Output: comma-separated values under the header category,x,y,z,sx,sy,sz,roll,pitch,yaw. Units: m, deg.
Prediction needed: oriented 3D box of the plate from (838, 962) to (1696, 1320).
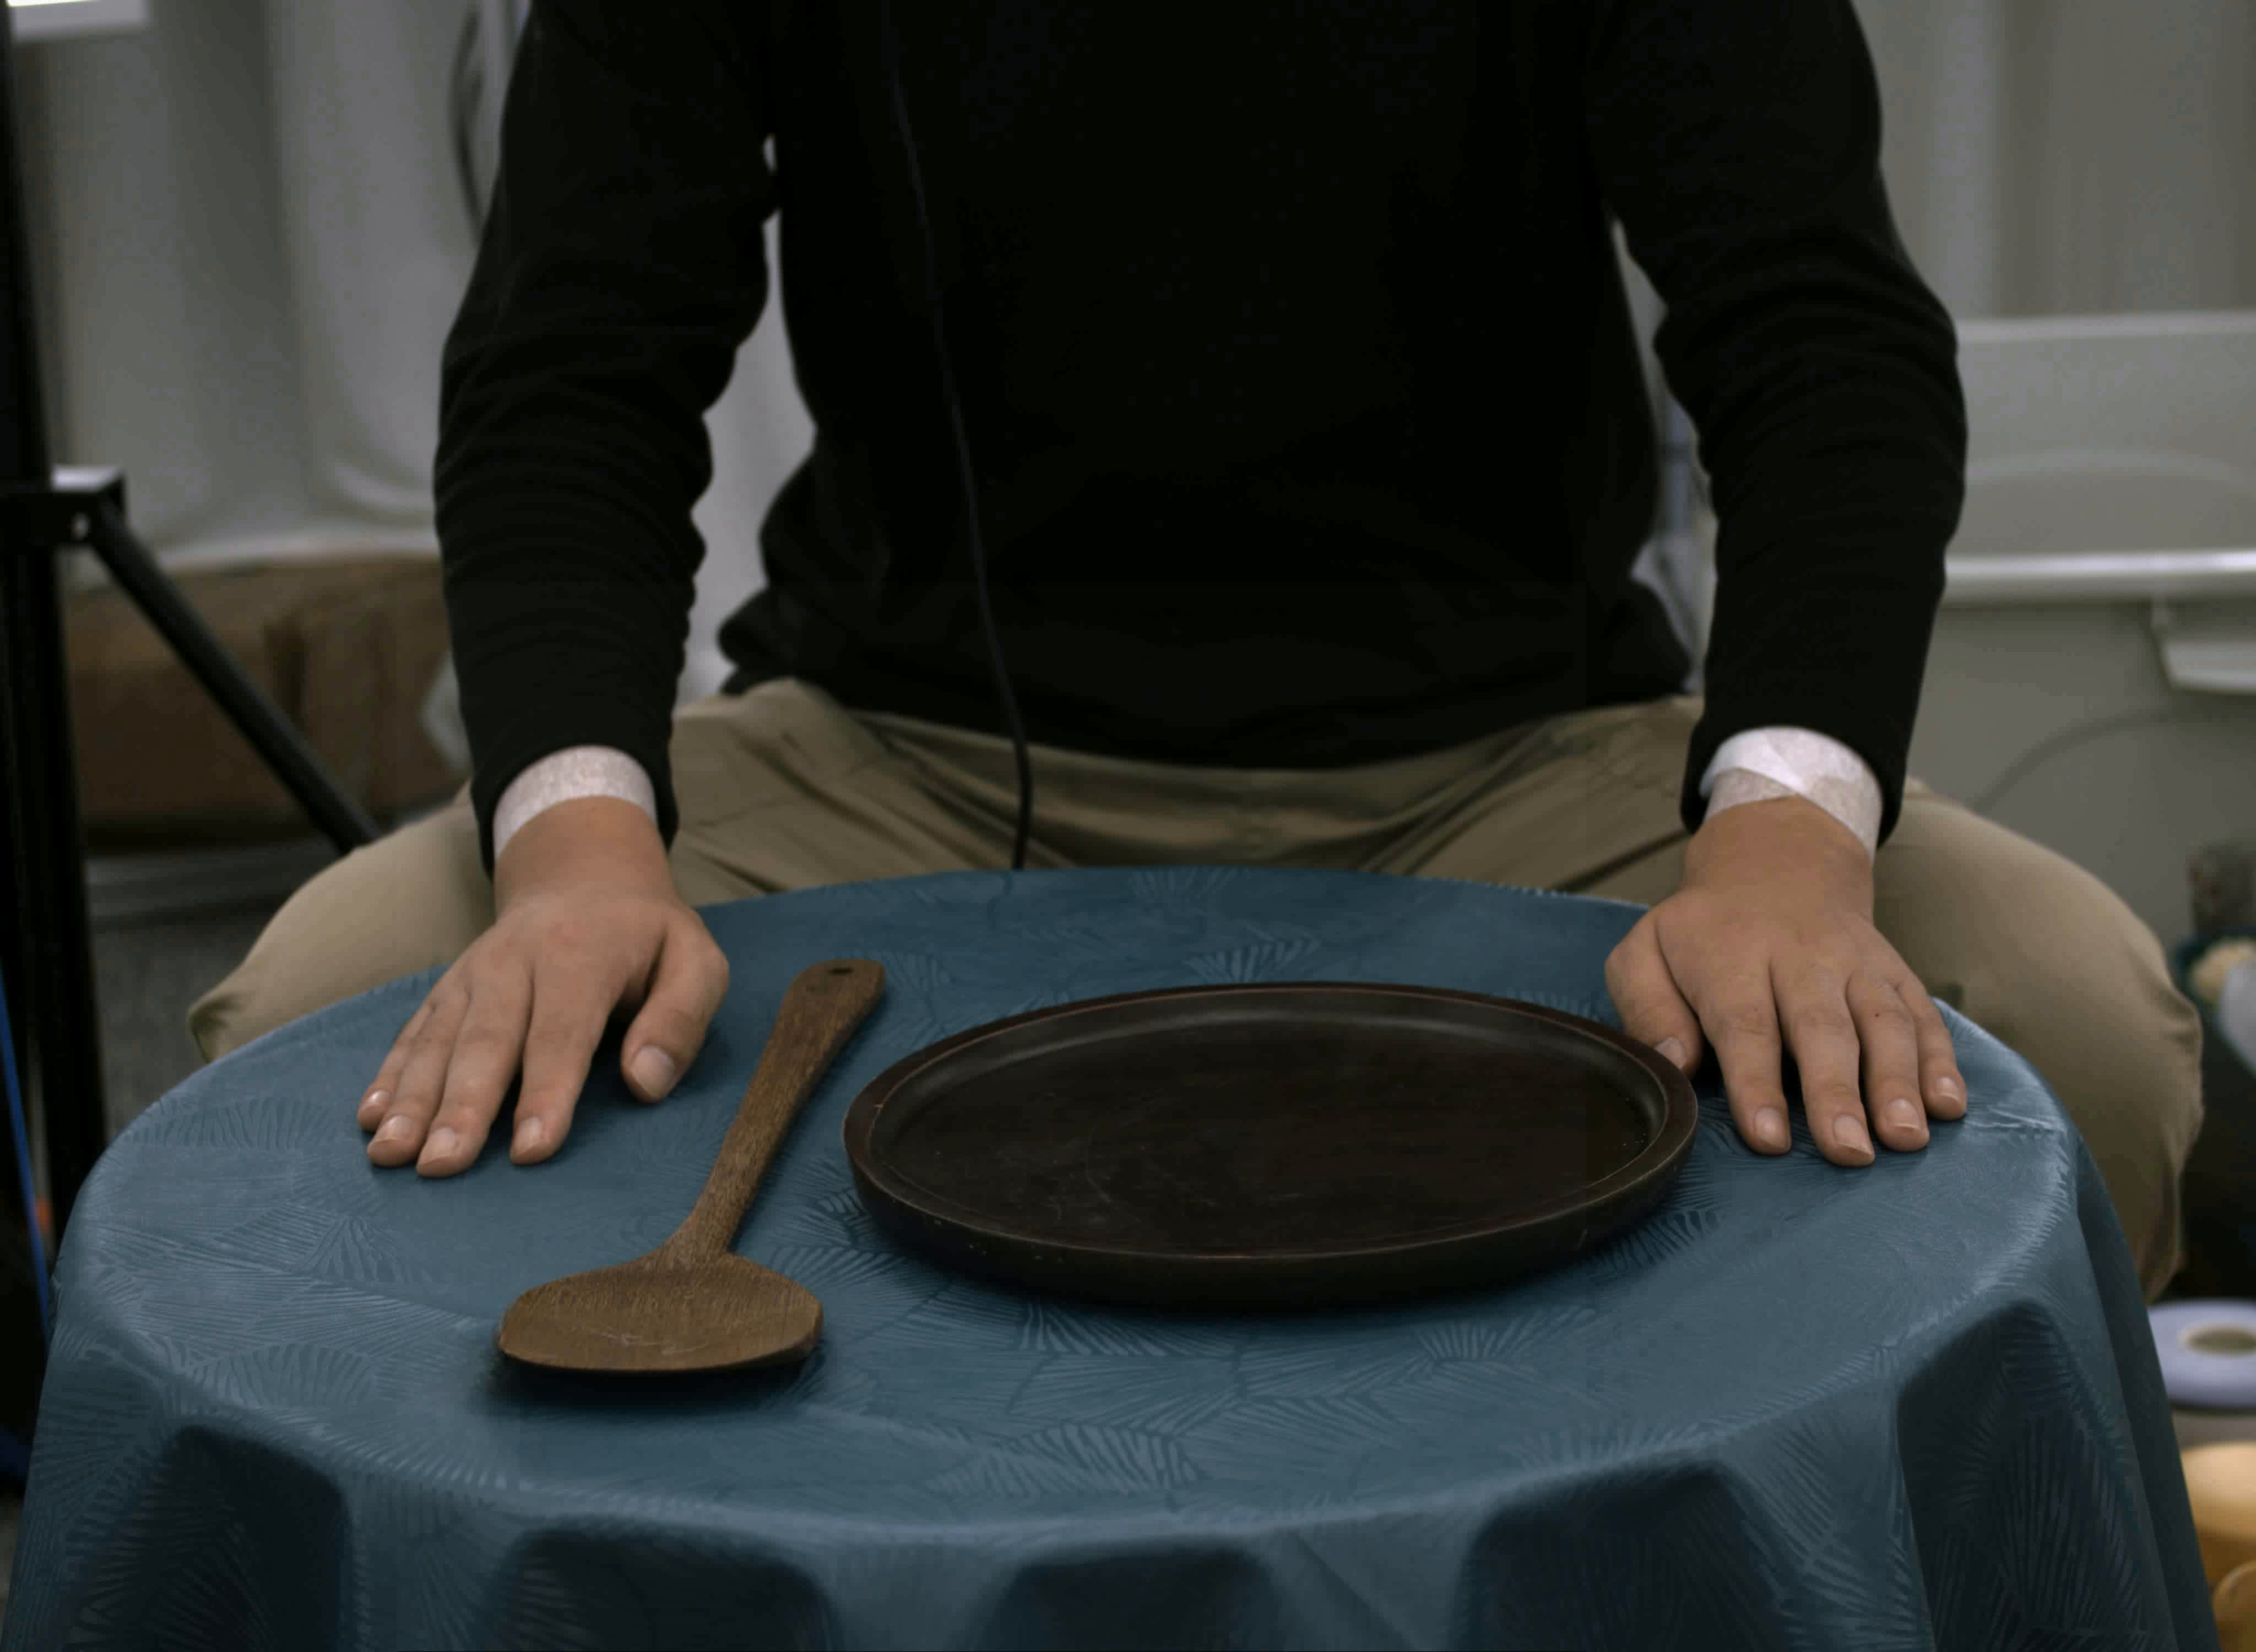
category,x,y,z,sx,sy,sz,roll,pitch,yaw
plate,0.041,0.093,1.560,0.253,0.029,0.256,-4,16,0

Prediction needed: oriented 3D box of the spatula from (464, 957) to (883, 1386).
category,x,y,z,sx,sy,sz,roll,pitch,yaw
spatula,-0.114,0.096,1.590,0.096,0.016,0.385,0,16,6
